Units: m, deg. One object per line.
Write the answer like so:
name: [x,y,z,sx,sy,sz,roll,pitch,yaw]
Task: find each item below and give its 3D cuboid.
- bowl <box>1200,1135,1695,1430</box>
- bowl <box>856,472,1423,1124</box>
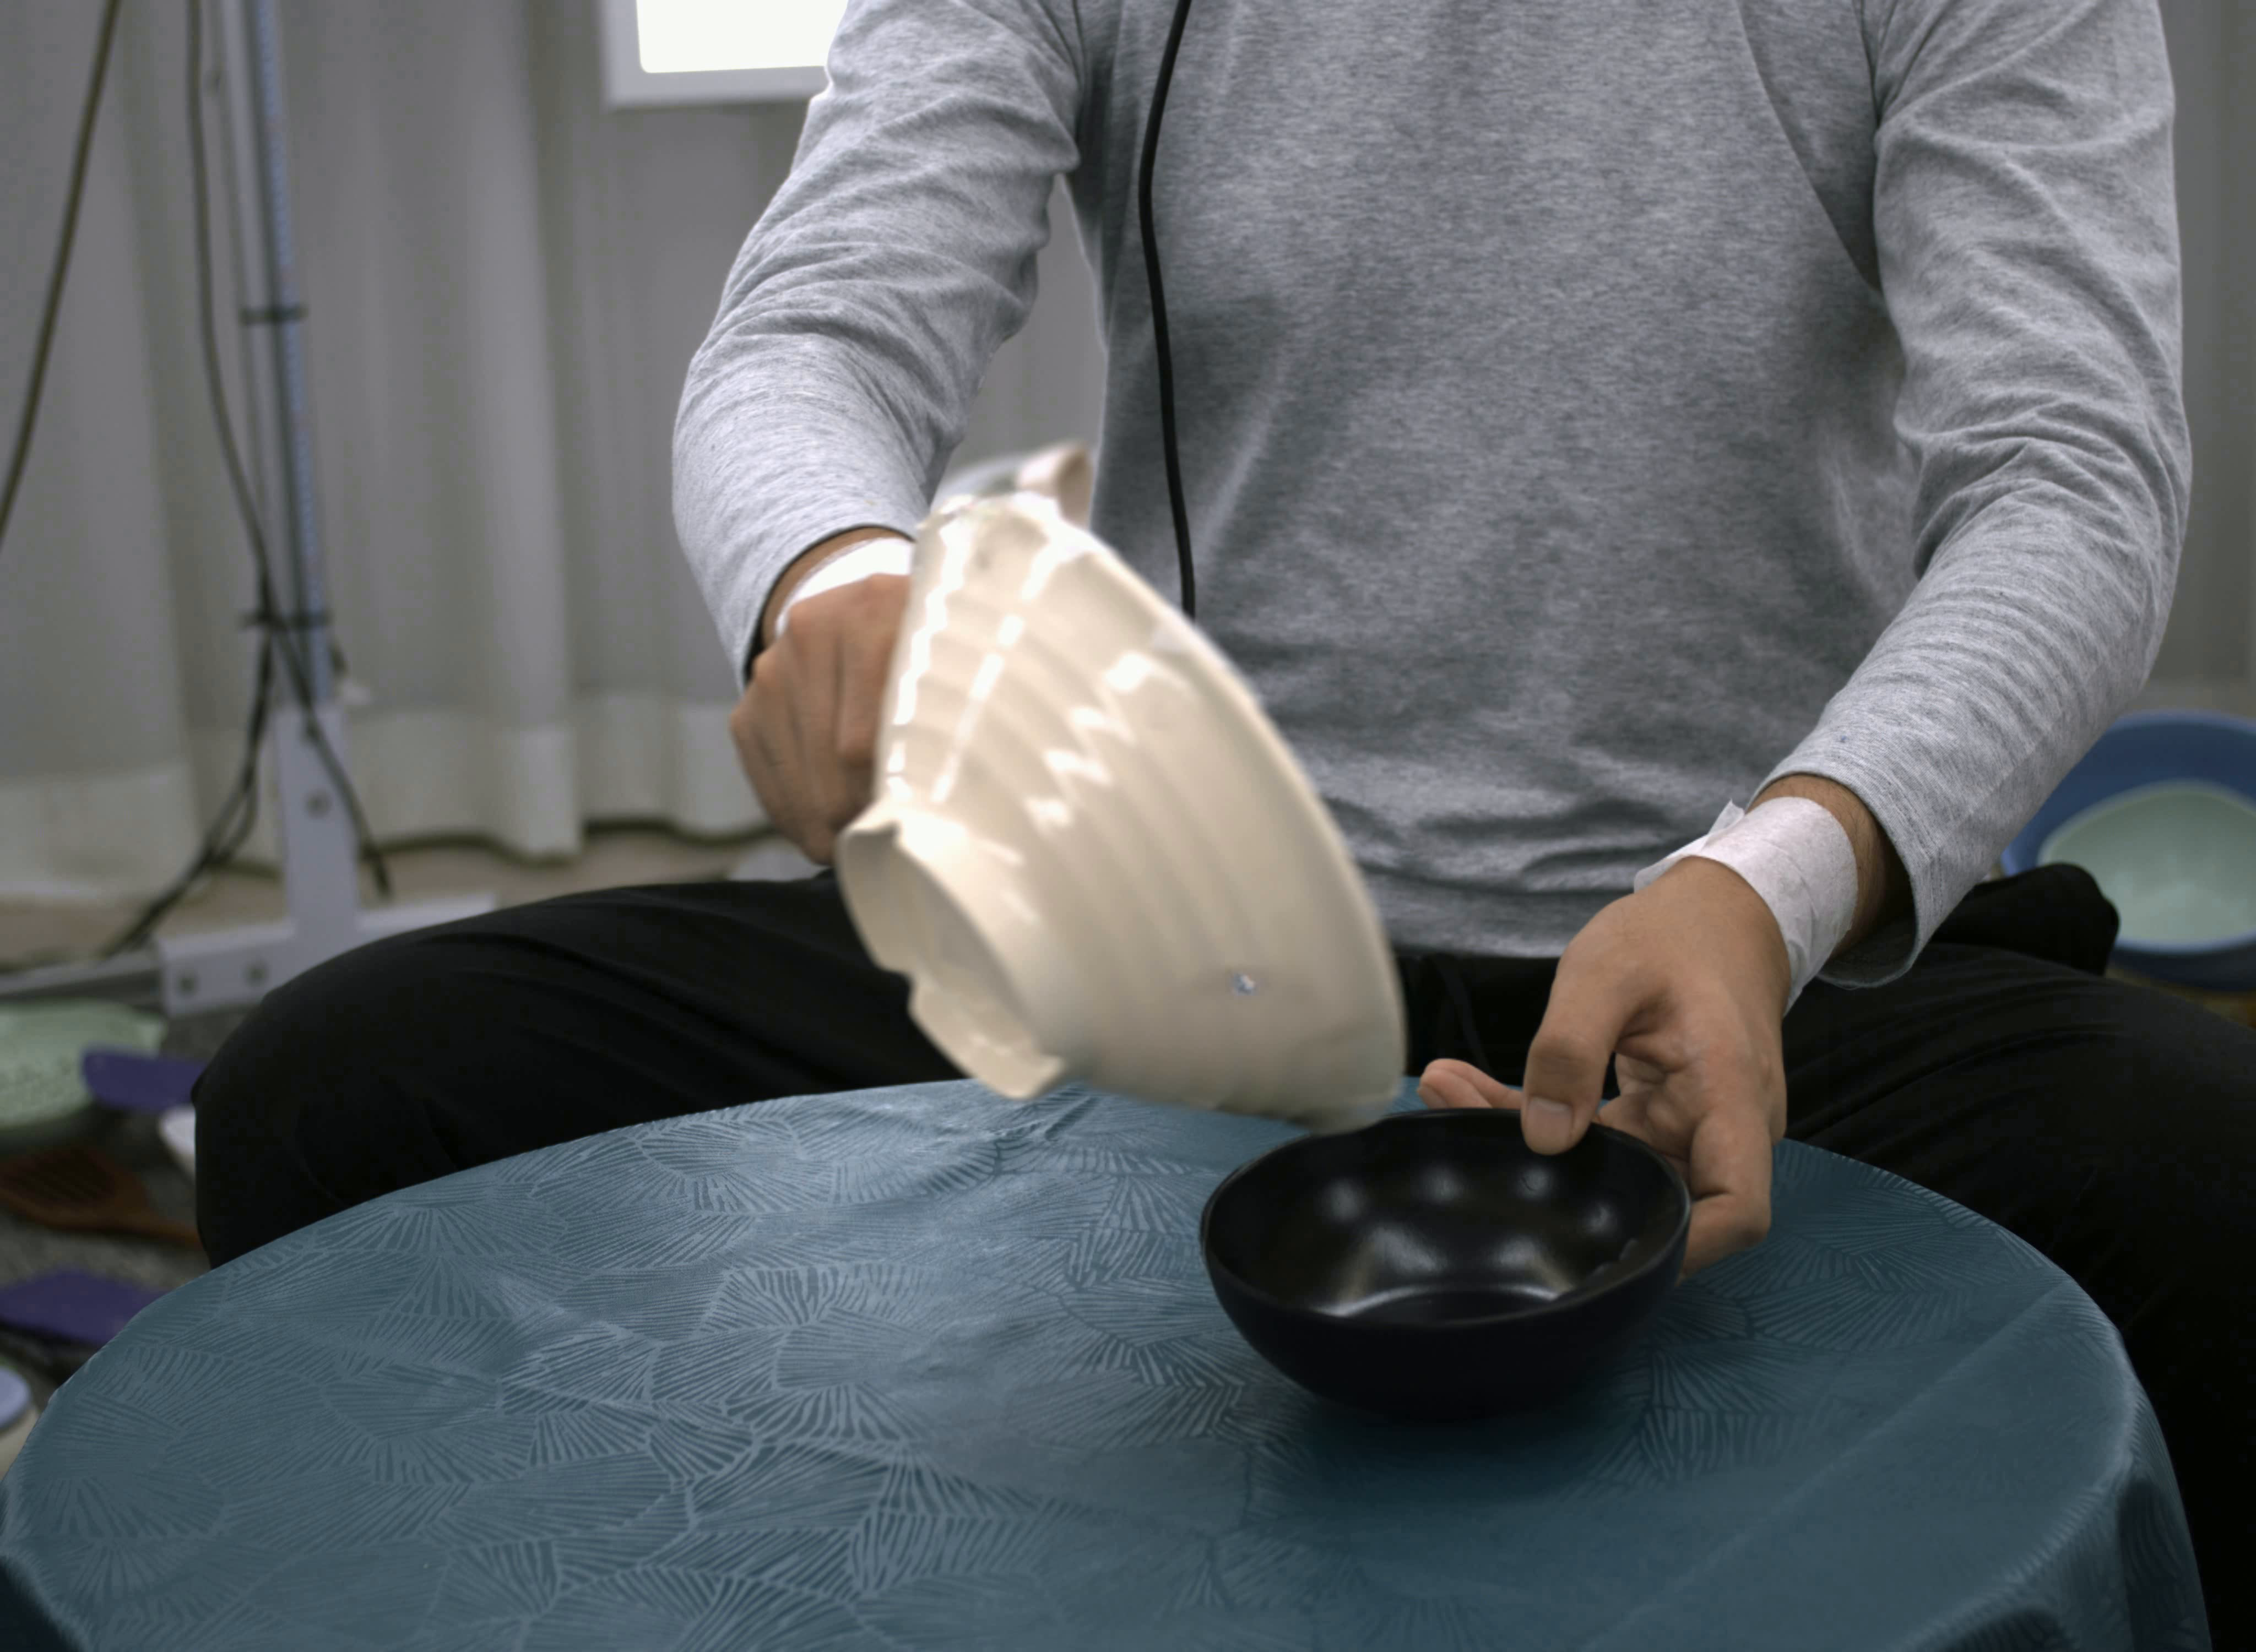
bowl: [0.090,0.134,1.535,0.139,0.049,0.141,-3,17,1]
bowl: [-0.016,0.012,1.457,0.078,0.202,0.205,-34,27,-22]
